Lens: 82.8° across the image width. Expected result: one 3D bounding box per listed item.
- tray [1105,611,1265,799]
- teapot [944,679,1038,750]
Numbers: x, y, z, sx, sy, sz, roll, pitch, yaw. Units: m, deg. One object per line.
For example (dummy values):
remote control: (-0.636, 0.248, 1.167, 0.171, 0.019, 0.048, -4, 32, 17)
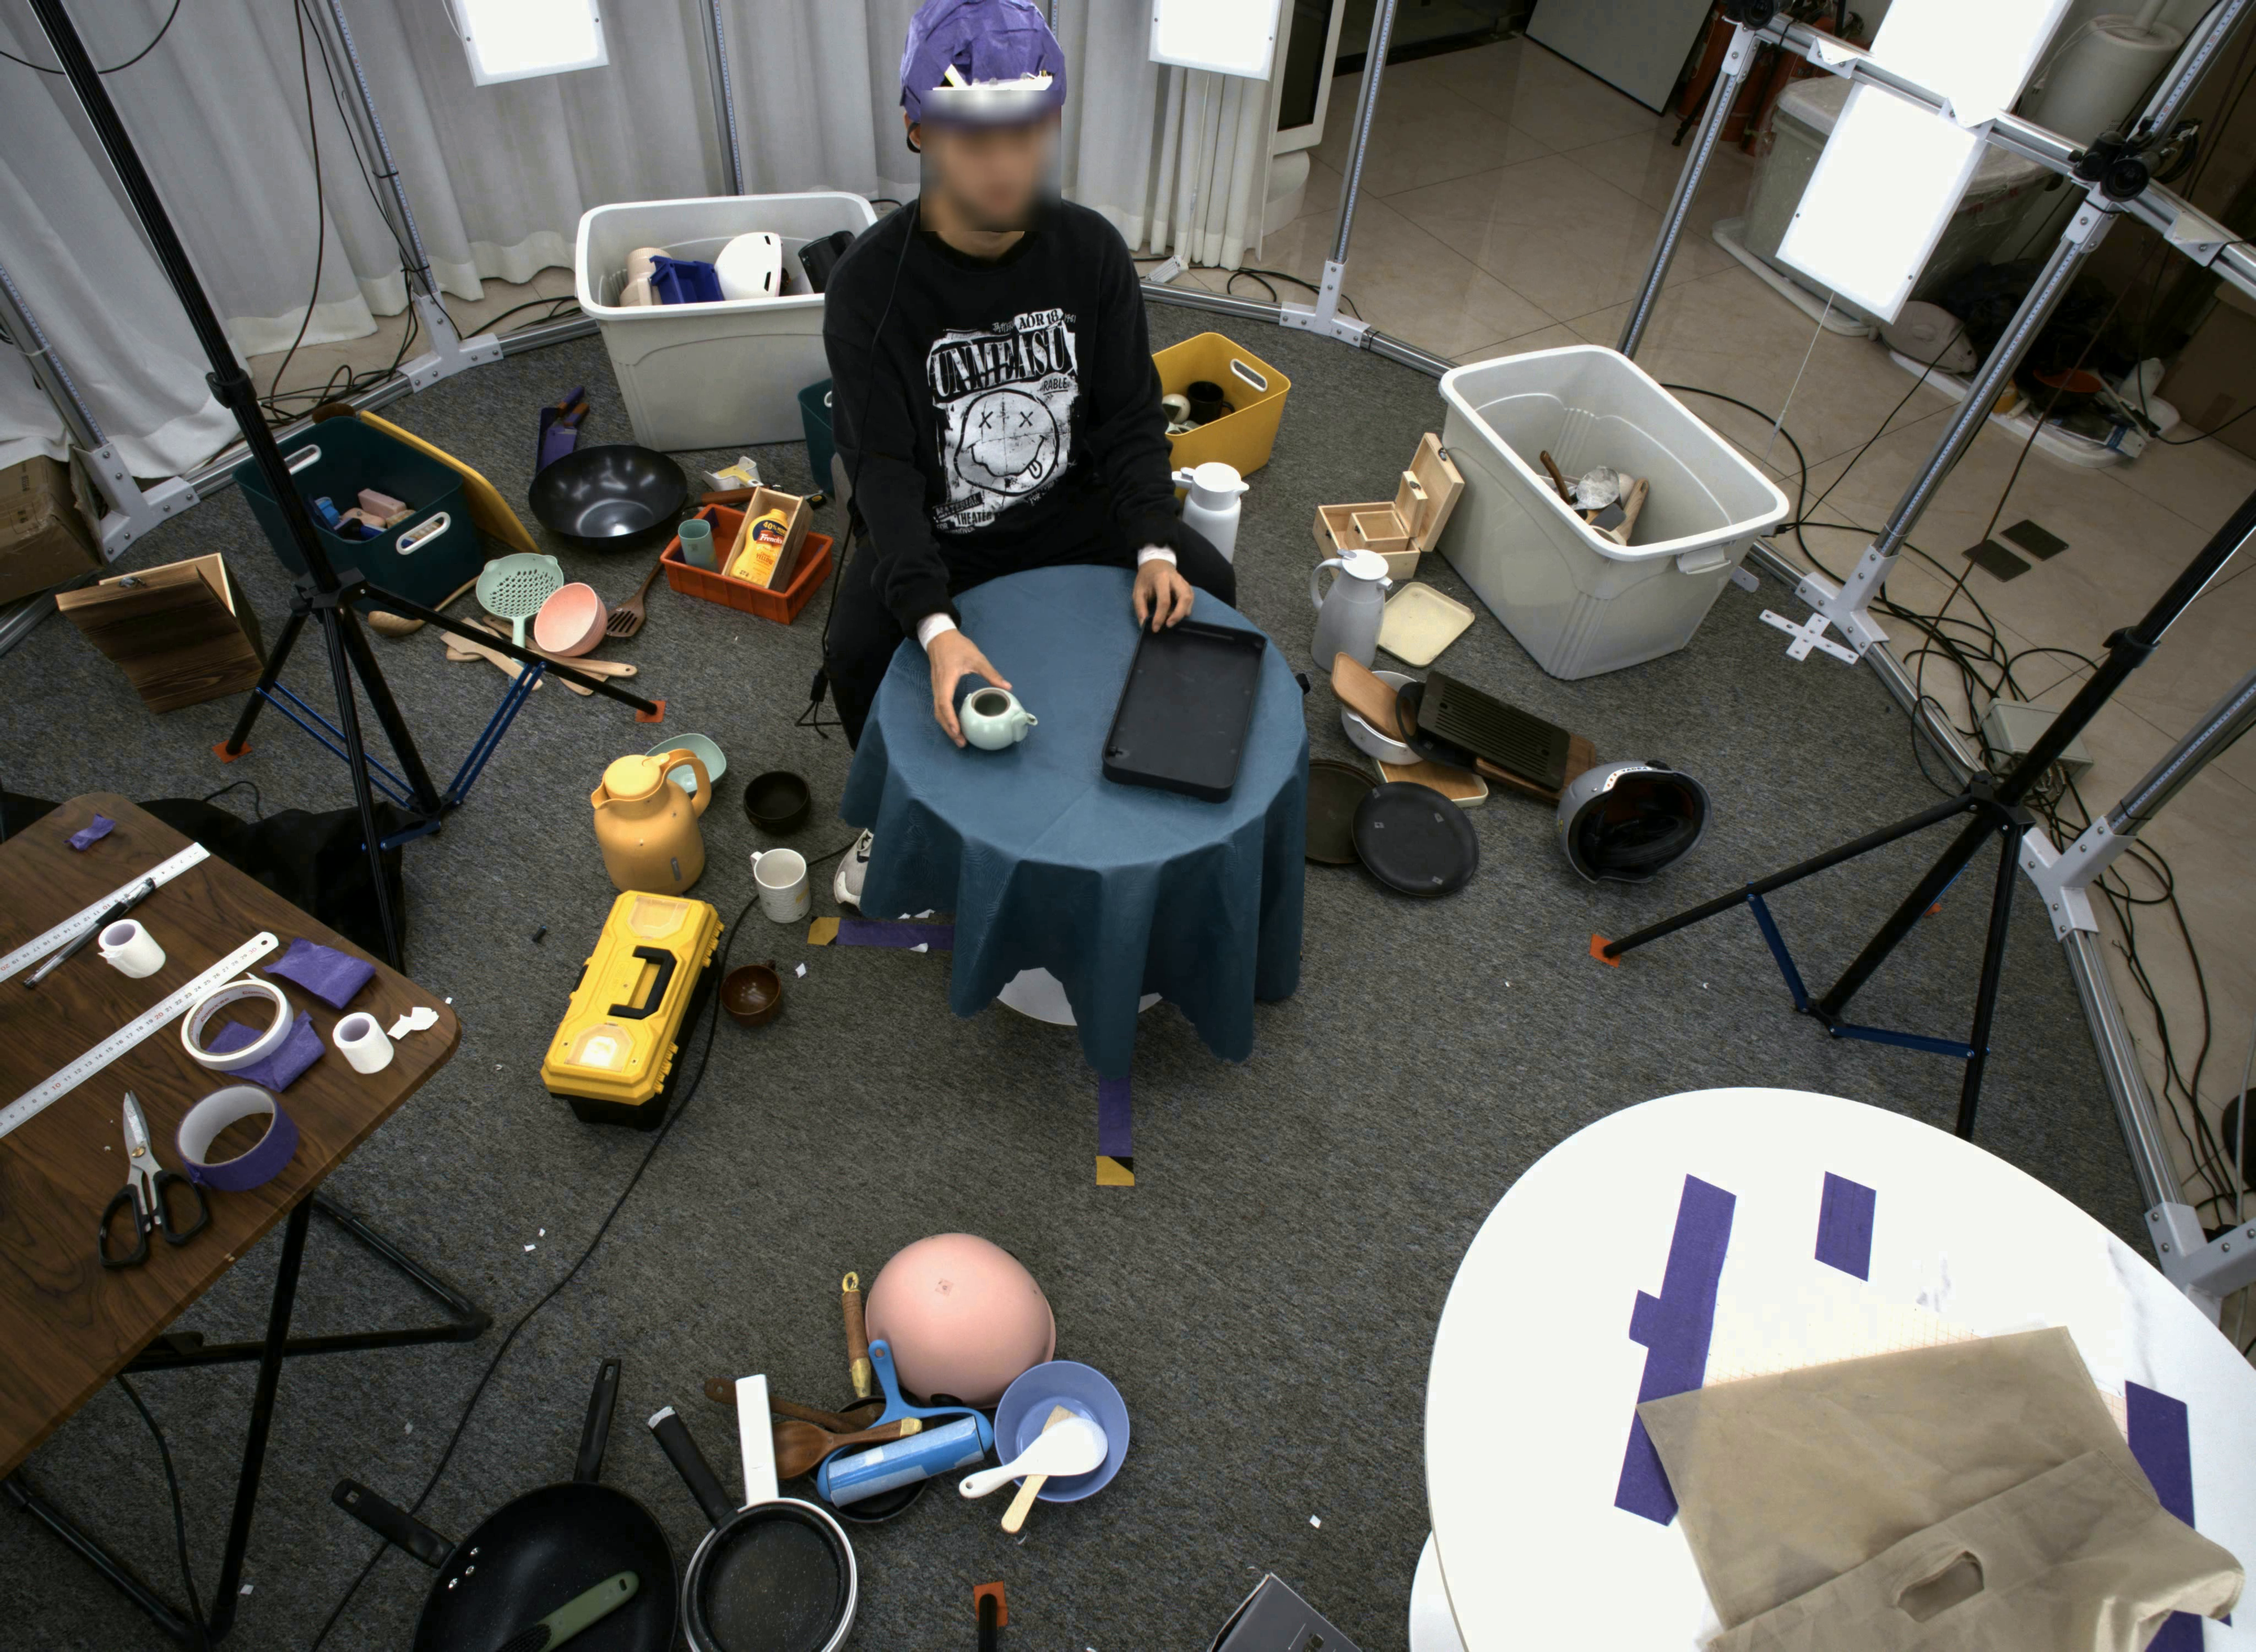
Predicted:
tray: (0.084, -0.176, 1.803, 0.184, 0.036, 0.325, 10, 50, 5)
teapot: (-0.185, -0.146, 1.738, 0.145, 0.073, 0.090, 27, 53, 17)
